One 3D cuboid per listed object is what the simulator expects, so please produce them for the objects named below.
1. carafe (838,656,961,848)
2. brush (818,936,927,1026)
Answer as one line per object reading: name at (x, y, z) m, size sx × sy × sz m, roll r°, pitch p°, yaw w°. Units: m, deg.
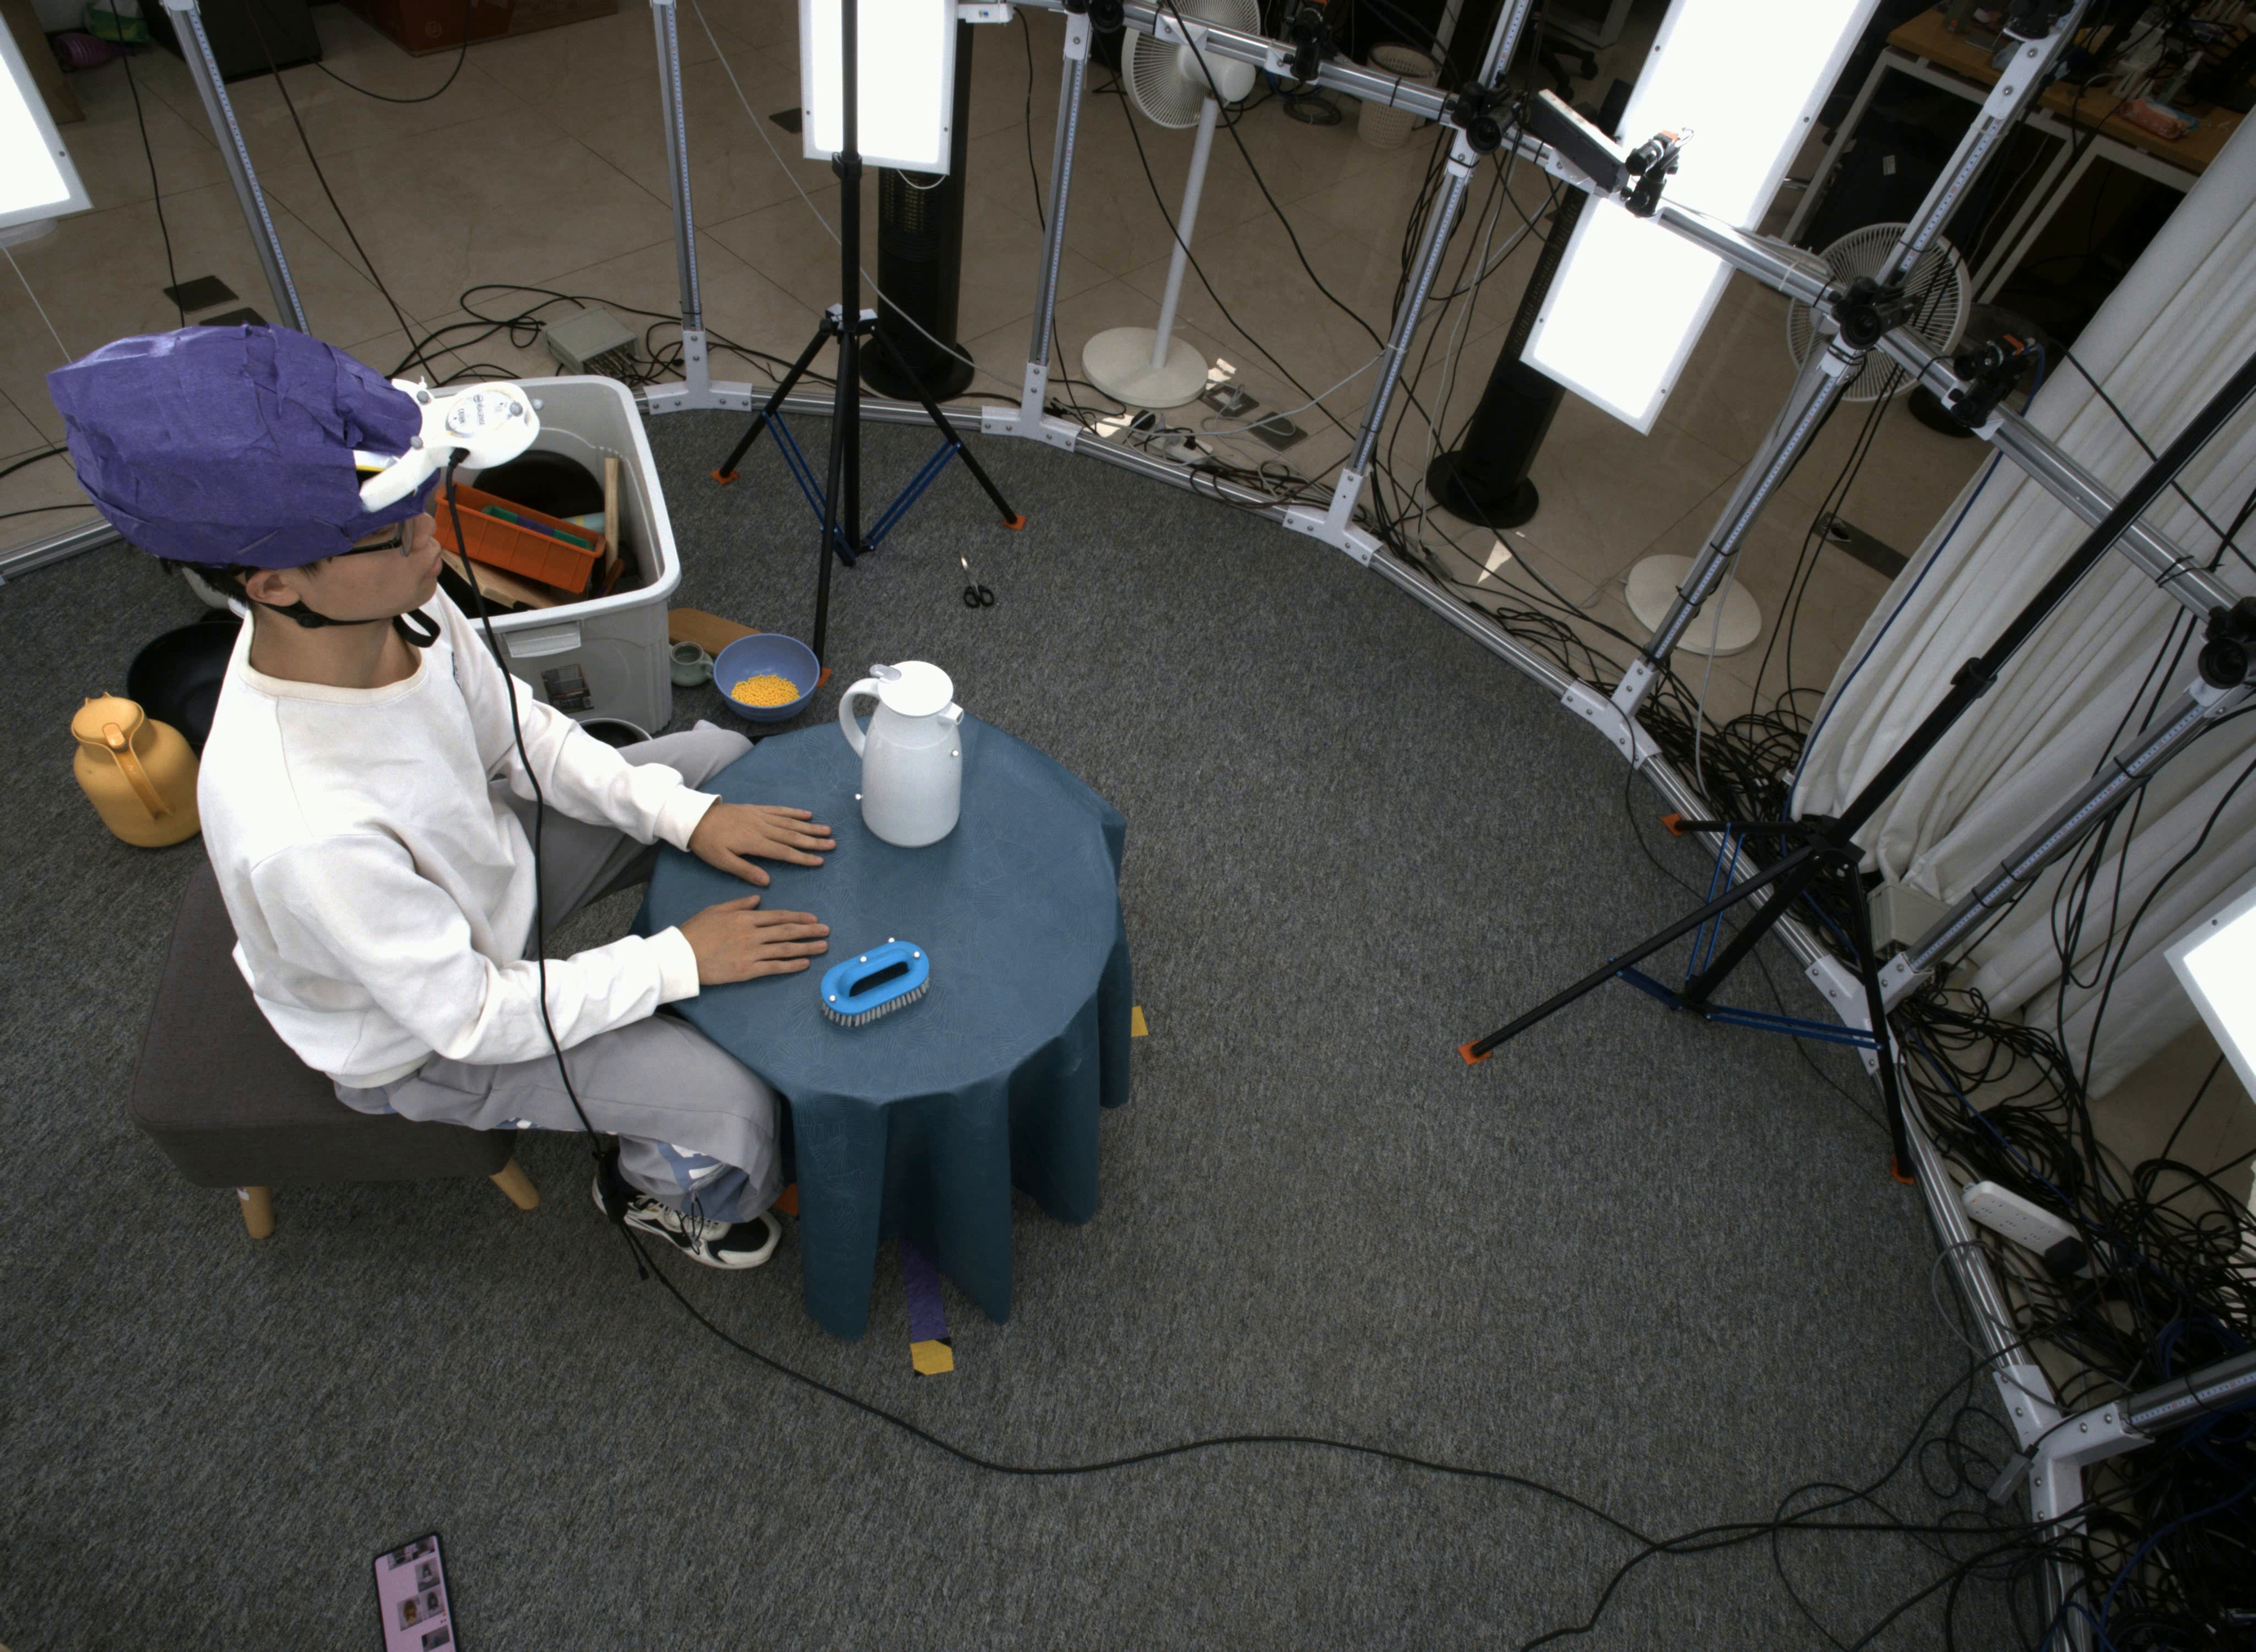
carafe at (-0.298, -0.107, 1.683) m, size 0.165 × 0.254 × 0.131 m, roll 21°, pitch 52°, yaw 6°
brush at (-0.309, 0.181, 1.585) m, size 0.142 × 0.065 × 0.082 m, roll -22°, pitch 65°, yaw -25°
